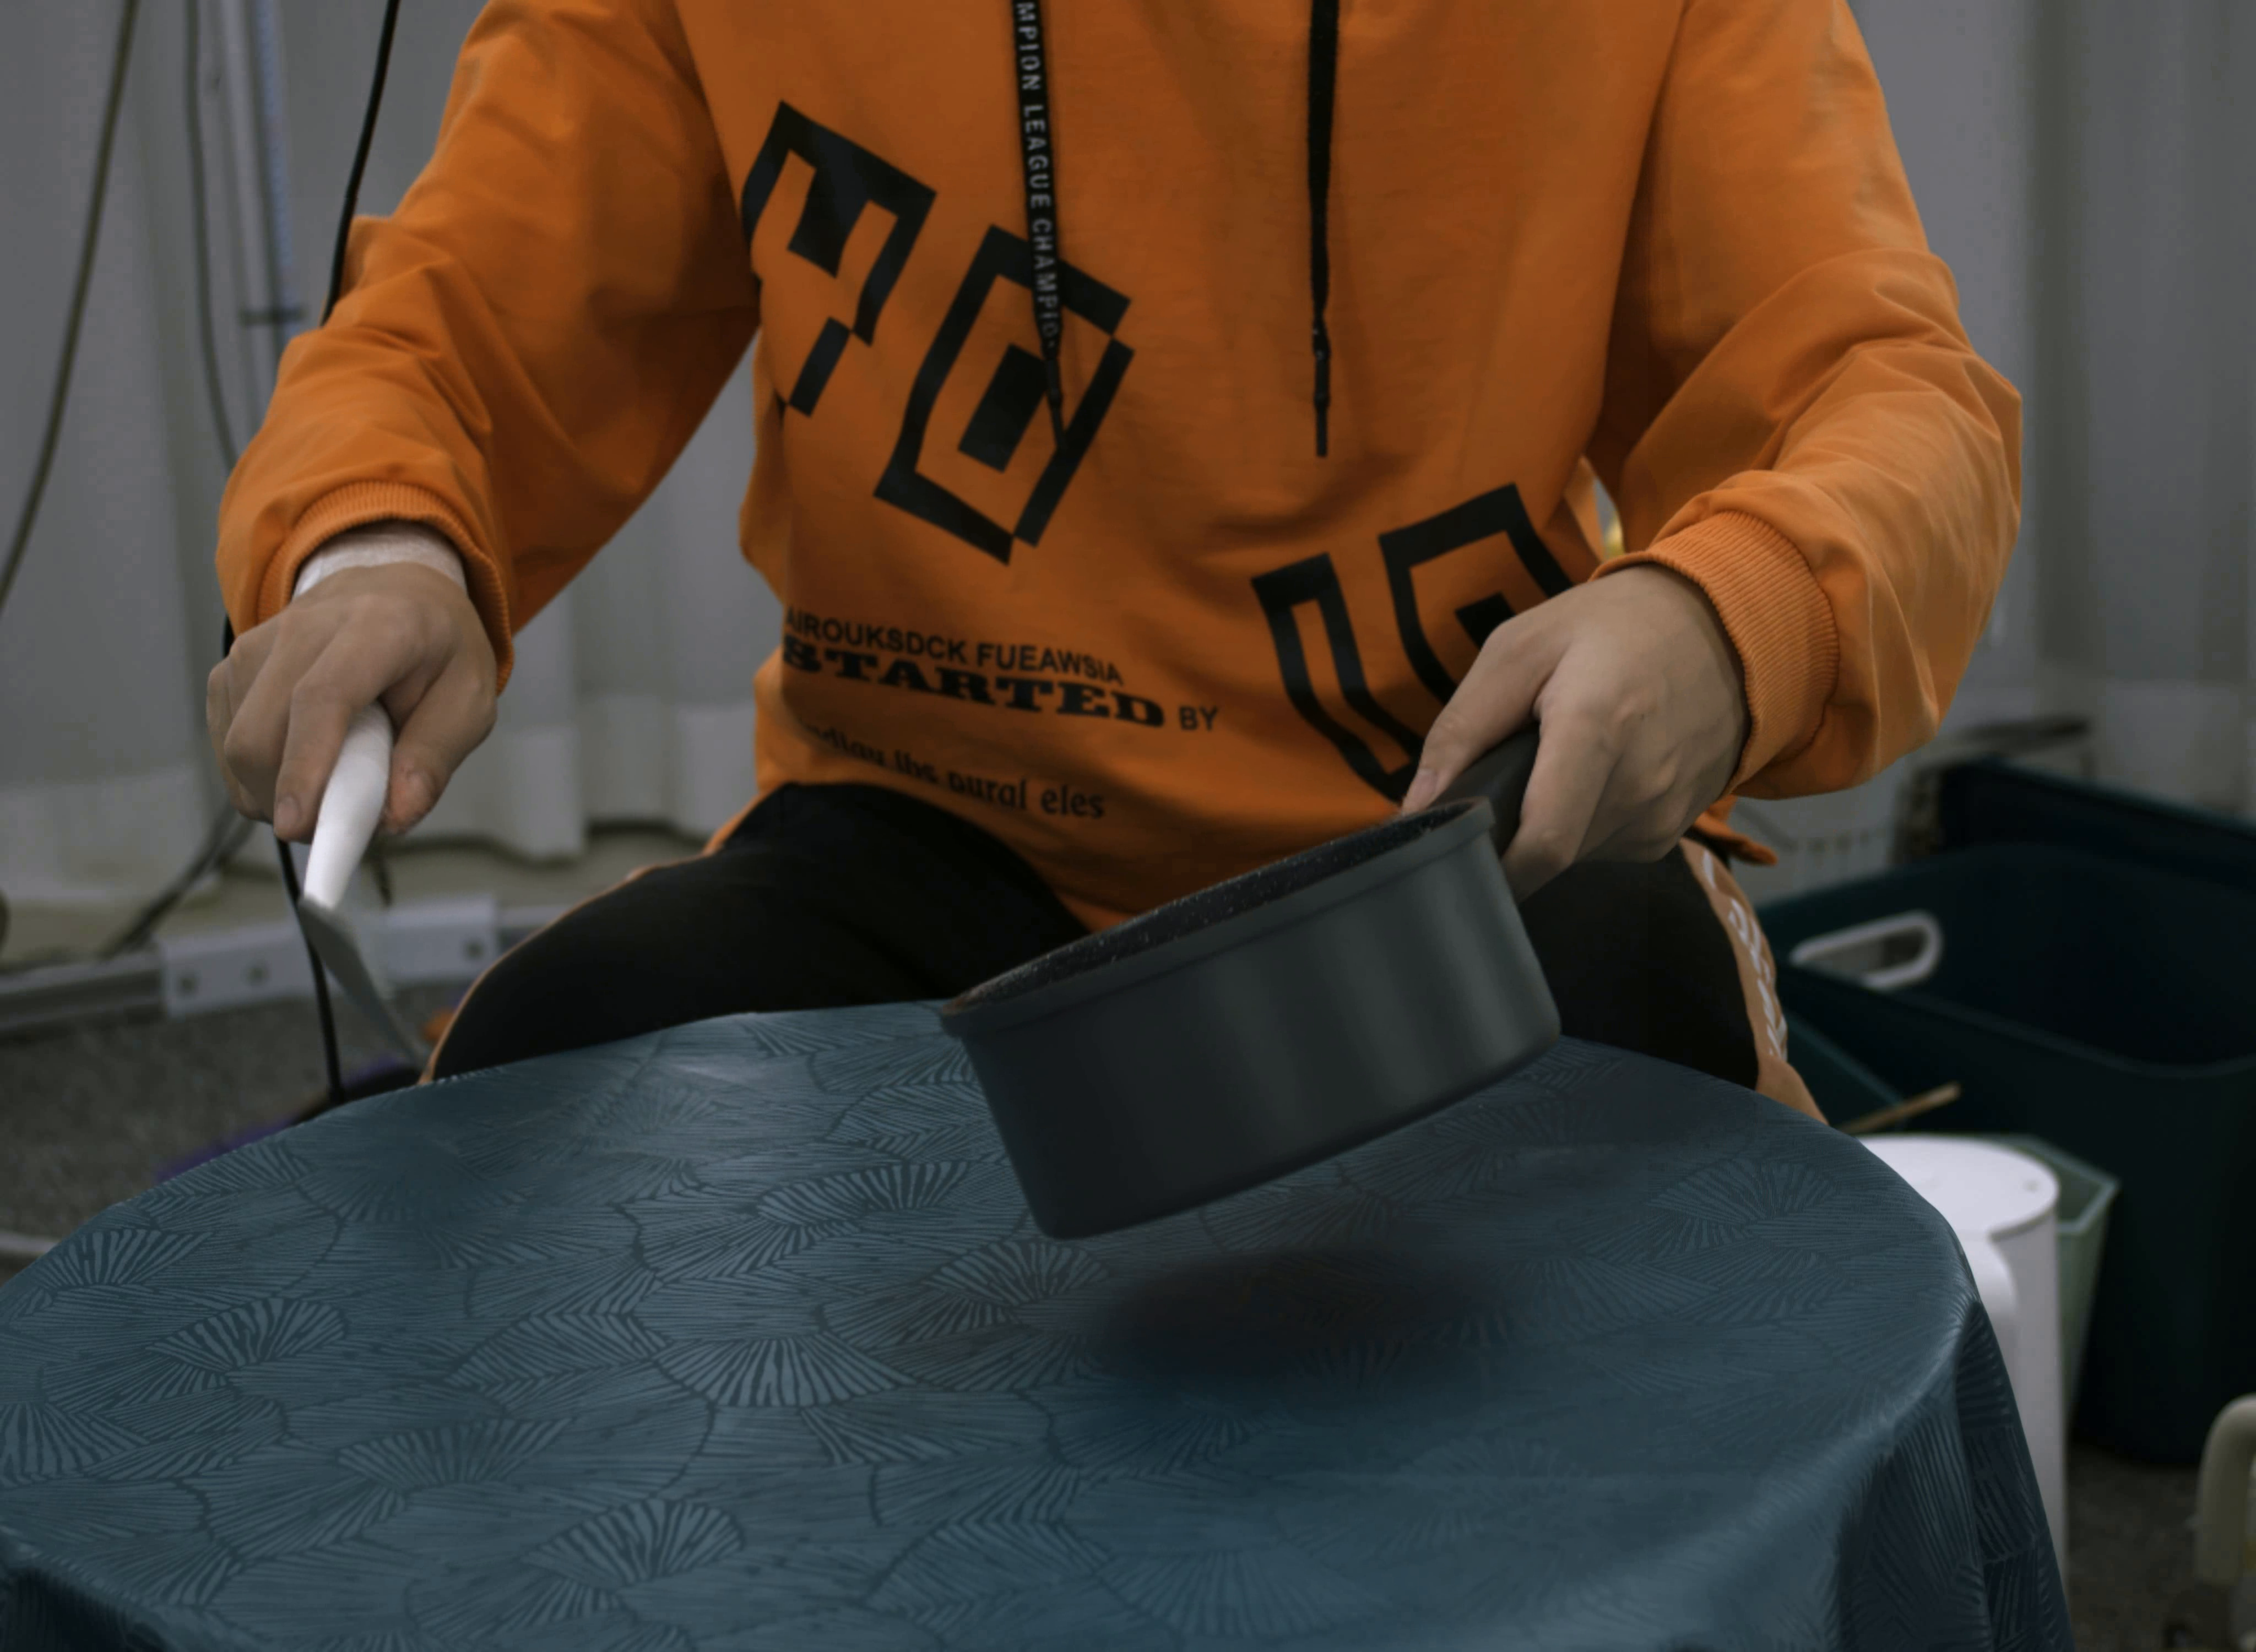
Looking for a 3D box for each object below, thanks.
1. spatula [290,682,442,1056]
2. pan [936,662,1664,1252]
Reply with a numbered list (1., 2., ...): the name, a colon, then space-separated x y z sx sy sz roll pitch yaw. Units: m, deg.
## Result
1. spatula: -0.237 0.009 1.672 0.032 0.058 0.290 -27 19 -1
2. pan: 0.080 0.035 1.640 0.171 0.086 0.329 -19 5 38
